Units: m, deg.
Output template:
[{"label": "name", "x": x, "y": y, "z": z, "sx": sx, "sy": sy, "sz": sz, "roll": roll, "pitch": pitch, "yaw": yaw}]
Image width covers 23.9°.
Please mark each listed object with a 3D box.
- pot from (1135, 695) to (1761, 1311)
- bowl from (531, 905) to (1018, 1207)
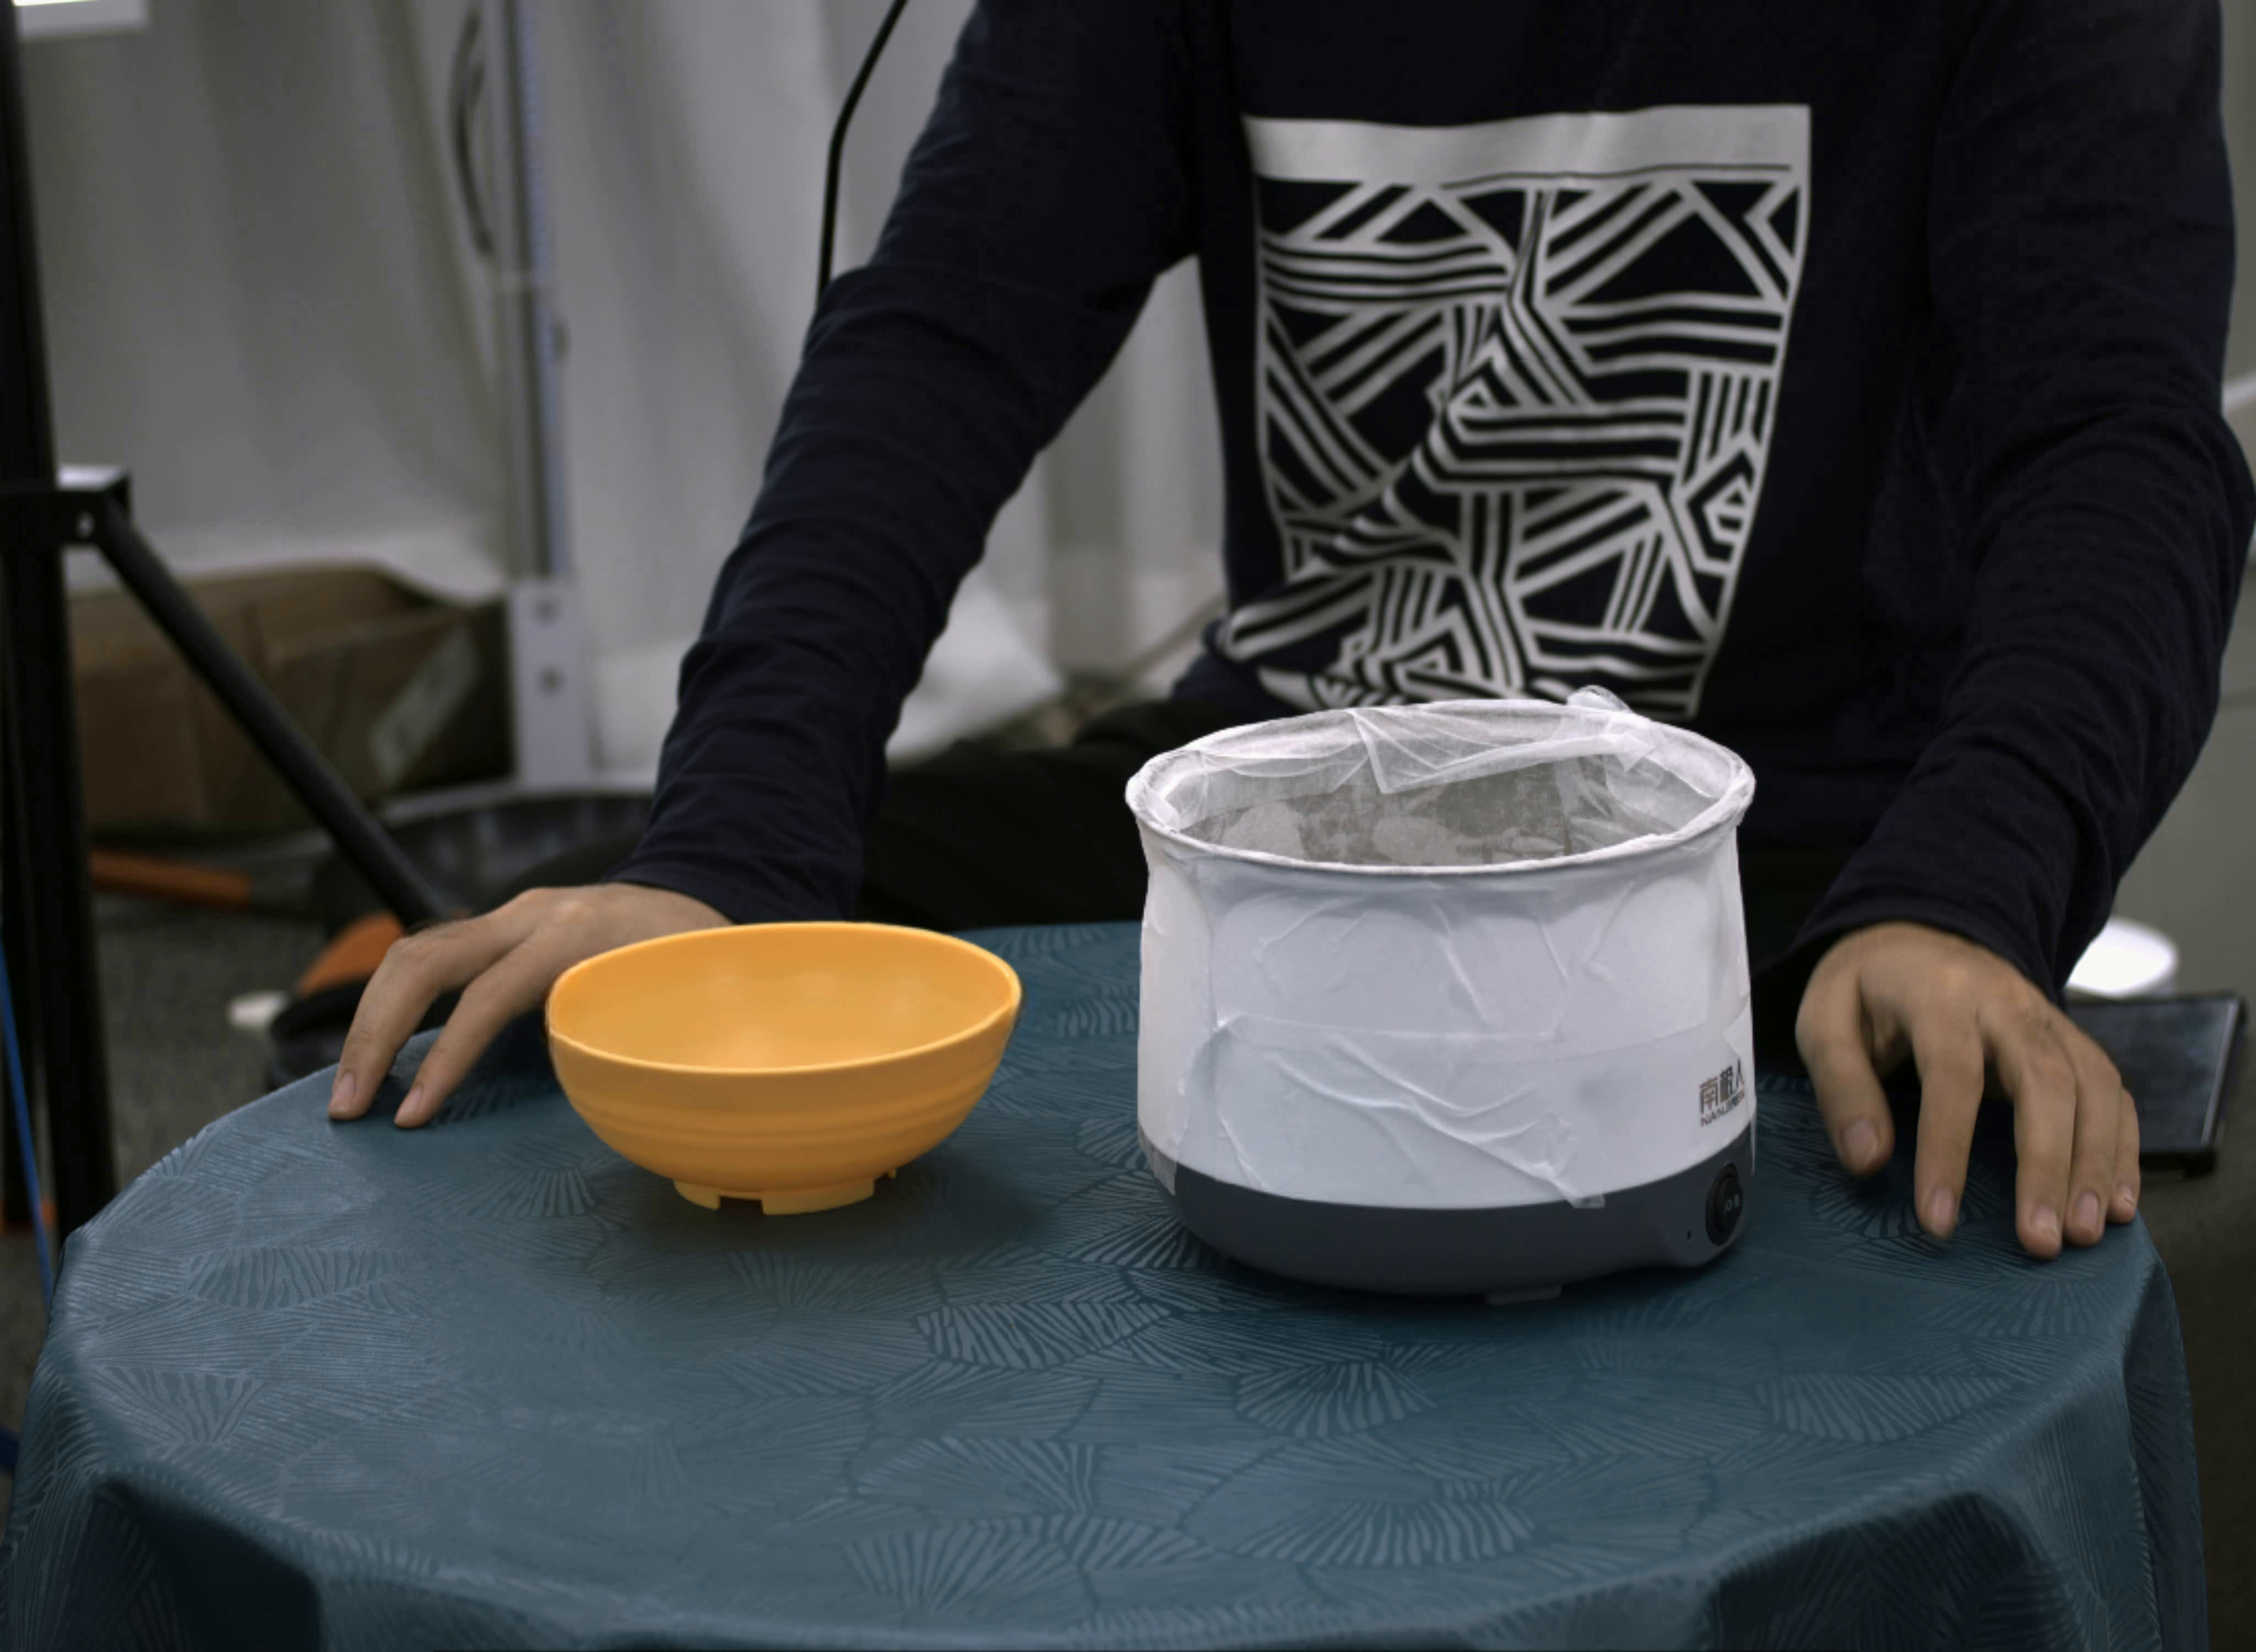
[{"label": "pot", "x": 0.104, "y": 0.044, "z": 1.530, "sx": 0.182, "sy": 0.136, "sz": 0.229, "roll": 7, "pitch": 16, "yaw": 30}, {"label": "bowl", "x": -0.104, "y": 0.074, "z": 1.581, "sx": 0.144, "sy": 0.060, "sz": 0.146, "roll": -2, "pitch": 18, "yaw": -1}]
